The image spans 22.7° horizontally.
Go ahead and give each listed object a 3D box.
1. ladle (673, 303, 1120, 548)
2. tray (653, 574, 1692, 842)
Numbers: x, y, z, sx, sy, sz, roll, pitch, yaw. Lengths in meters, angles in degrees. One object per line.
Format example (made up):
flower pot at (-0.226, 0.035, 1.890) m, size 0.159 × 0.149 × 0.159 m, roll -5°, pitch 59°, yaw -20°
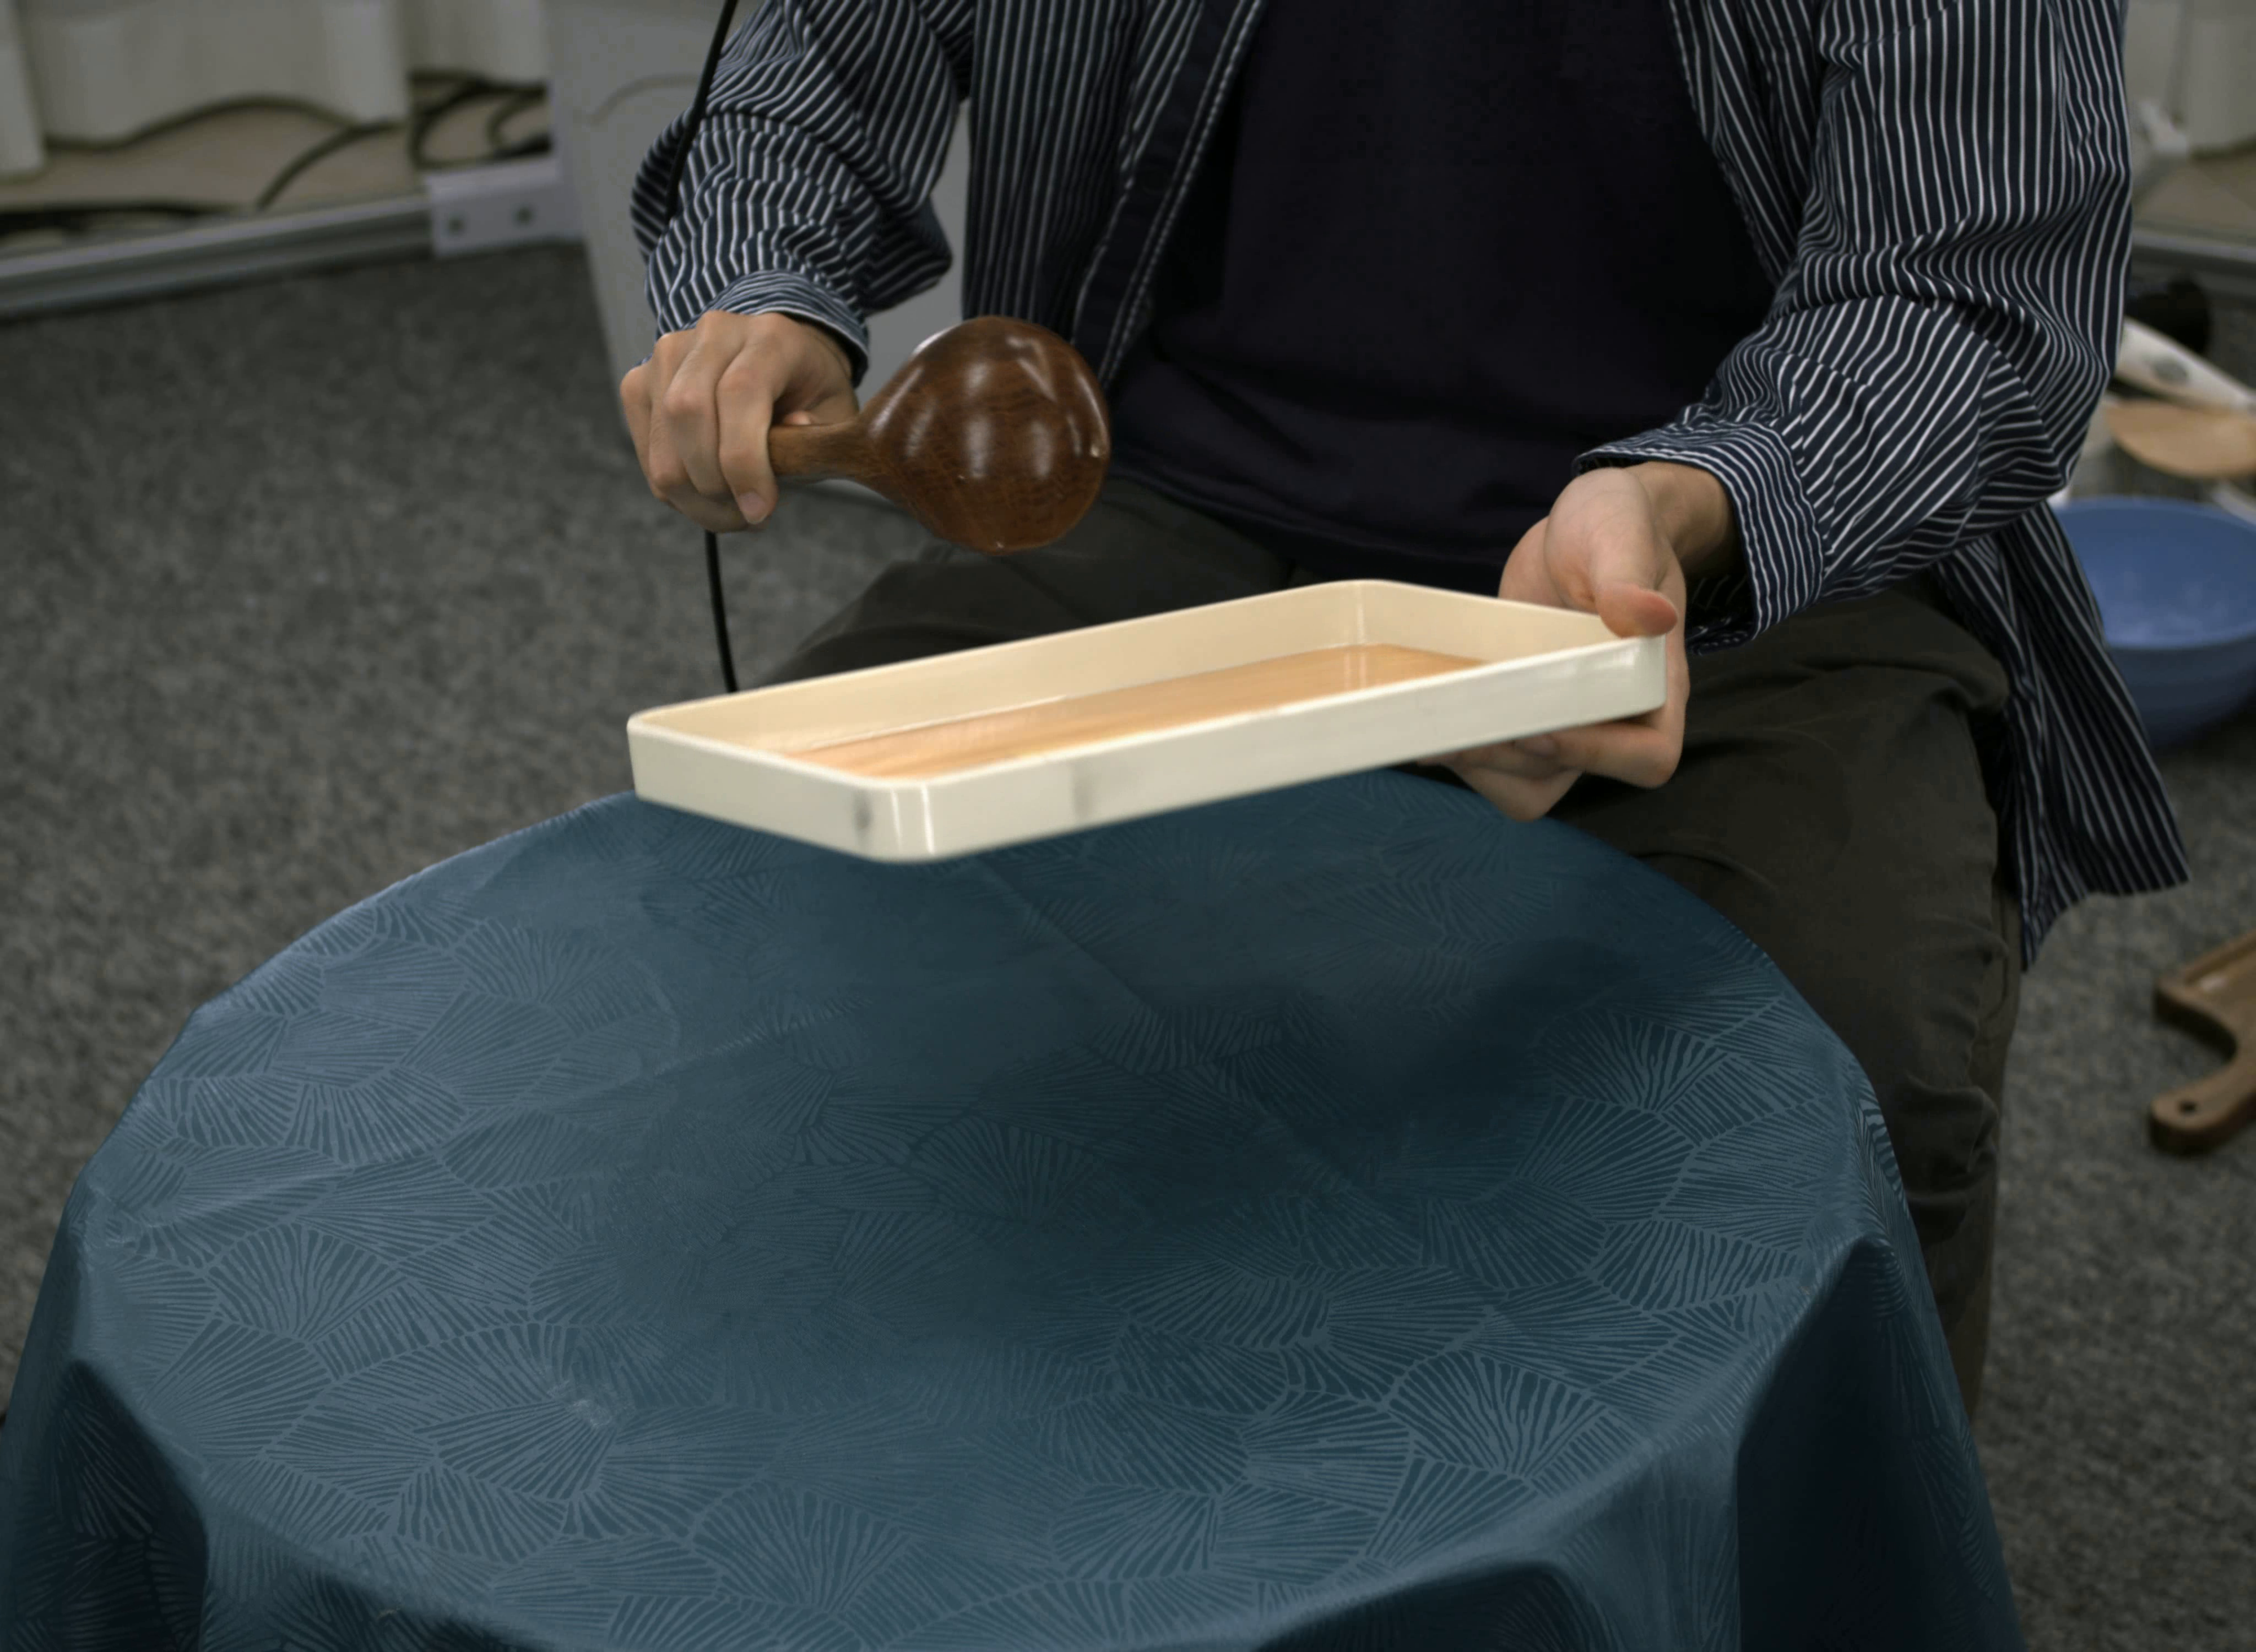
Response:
ladle at (-0.084, -0.136, 1.982) m, size 0.076 × 0.082 × 0.272 m, roll 1°, pitch 1°, yaw -22°
tray at (0.015, -0.041, 1.832) m, size 0.302 × 0.027 × 0.191 m, roll -11°, pitch 12°, yaw -30°
